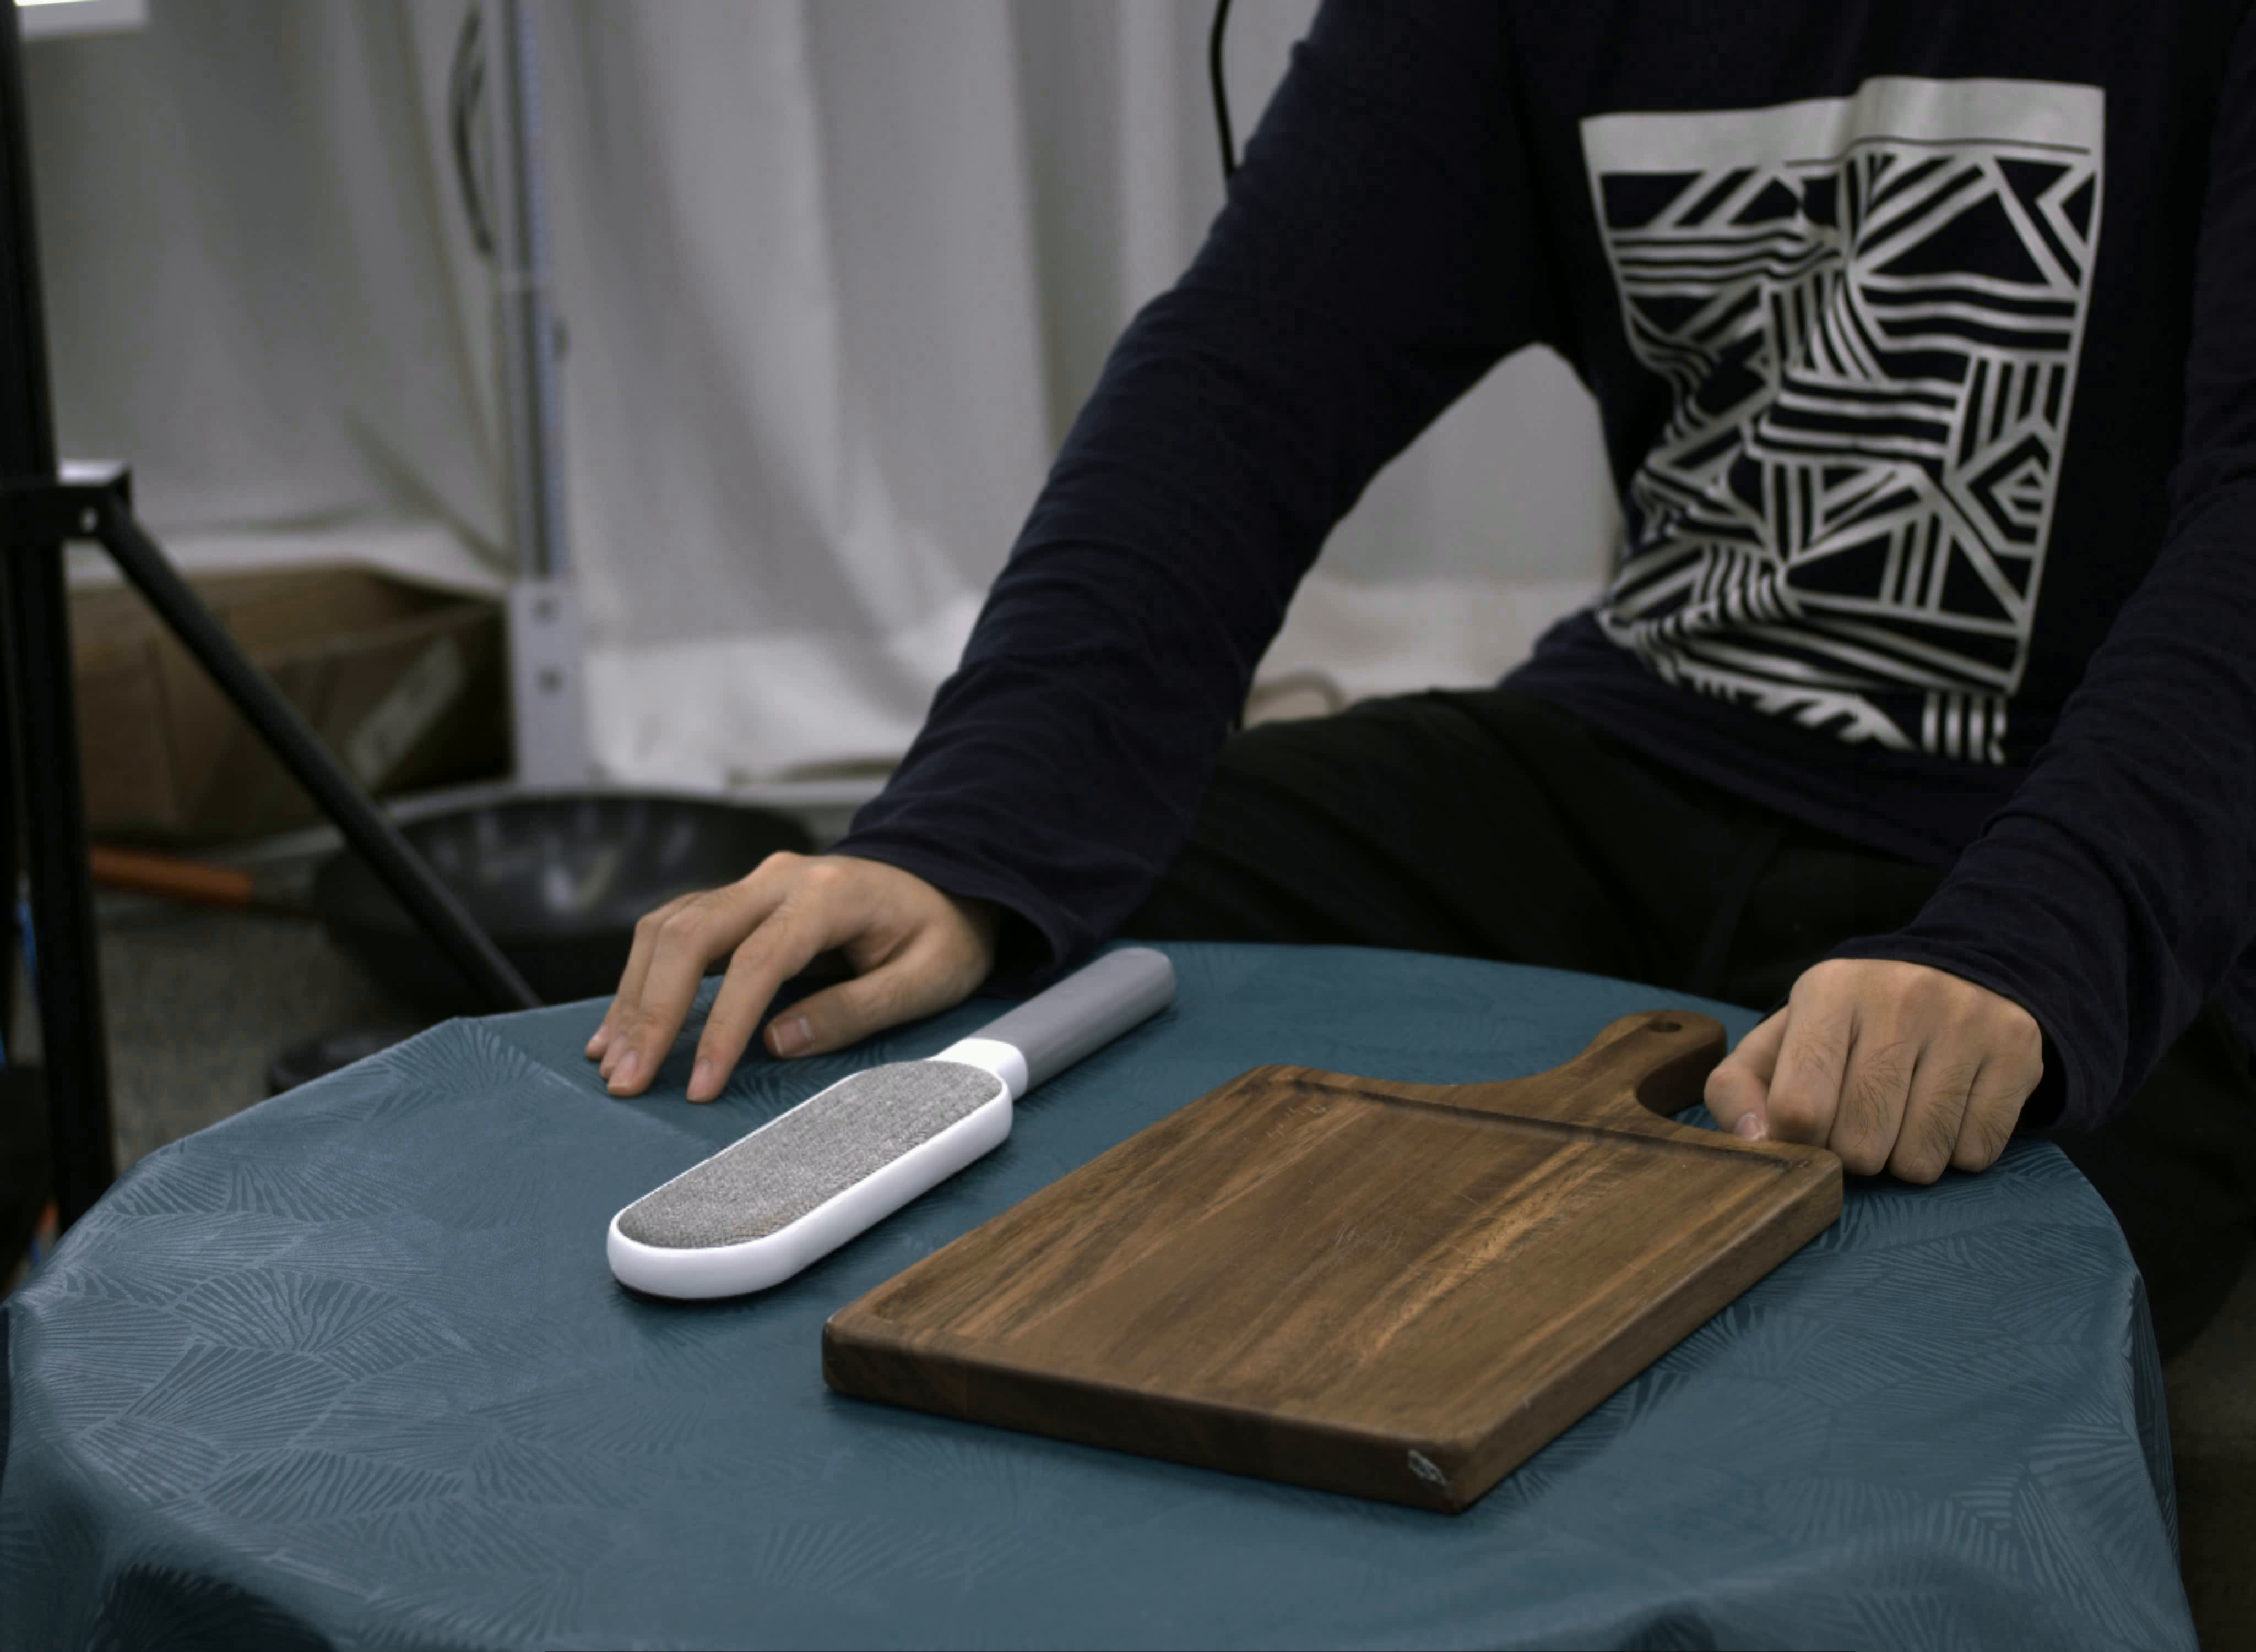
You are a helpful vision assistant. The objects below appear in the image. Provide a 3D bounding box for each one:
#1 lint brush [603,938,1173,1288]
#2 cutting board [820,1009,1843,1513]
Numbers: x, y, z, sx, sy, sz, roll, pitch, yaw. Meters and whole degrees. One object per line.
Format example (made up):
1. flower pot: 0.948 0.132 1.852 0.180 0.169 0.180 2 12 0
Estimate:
1. lint brush: -0.062 0.083 1.609 0.061 0.021 0.304 0 15 28
2. cutting board: 0.086 0.111 1.504 0.205 0.023 0.345 7 18 31
